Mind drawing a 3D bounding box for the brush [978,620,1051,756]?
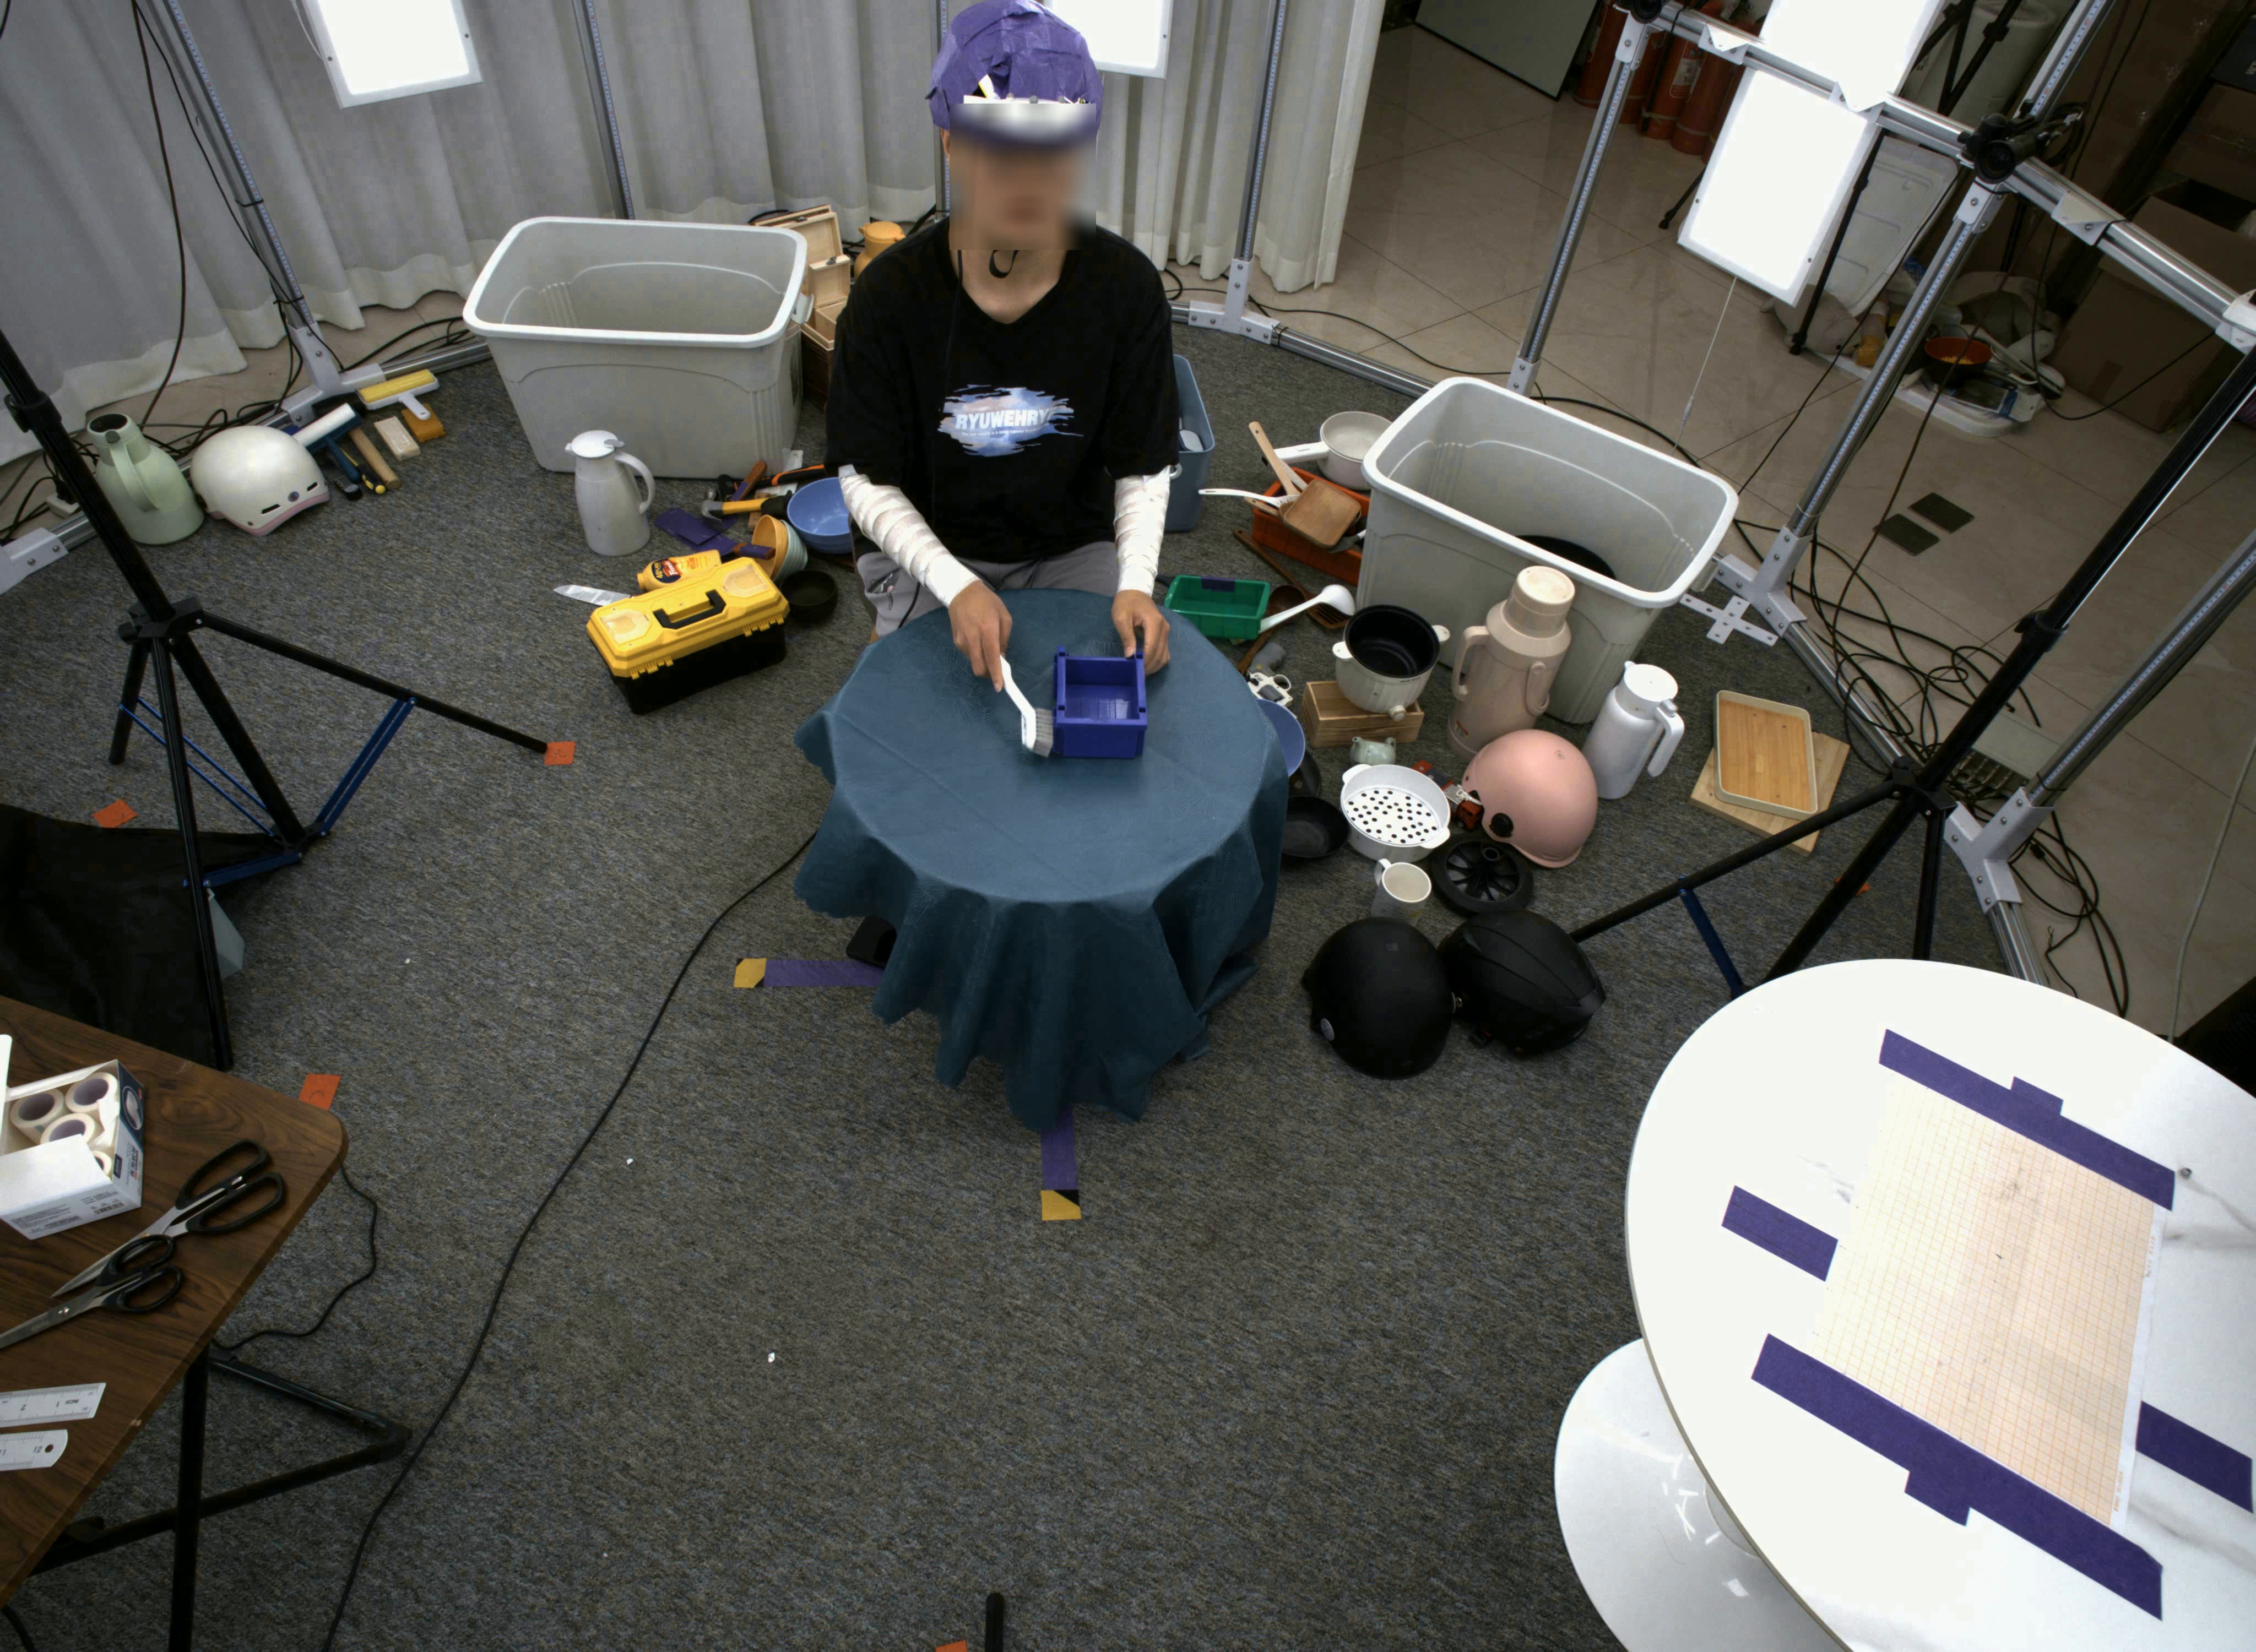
[{"bbox_3d":[-0.153,-0.195,1.769,0.050,0.033,0.249,-4,52,-26],"label":"brush"}]

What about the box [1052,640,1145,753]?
[{"bbox_3d":[-0.041,-0.187,1.779,0.124,0.080,0.184,2,51,-2],"label":"box"}]
